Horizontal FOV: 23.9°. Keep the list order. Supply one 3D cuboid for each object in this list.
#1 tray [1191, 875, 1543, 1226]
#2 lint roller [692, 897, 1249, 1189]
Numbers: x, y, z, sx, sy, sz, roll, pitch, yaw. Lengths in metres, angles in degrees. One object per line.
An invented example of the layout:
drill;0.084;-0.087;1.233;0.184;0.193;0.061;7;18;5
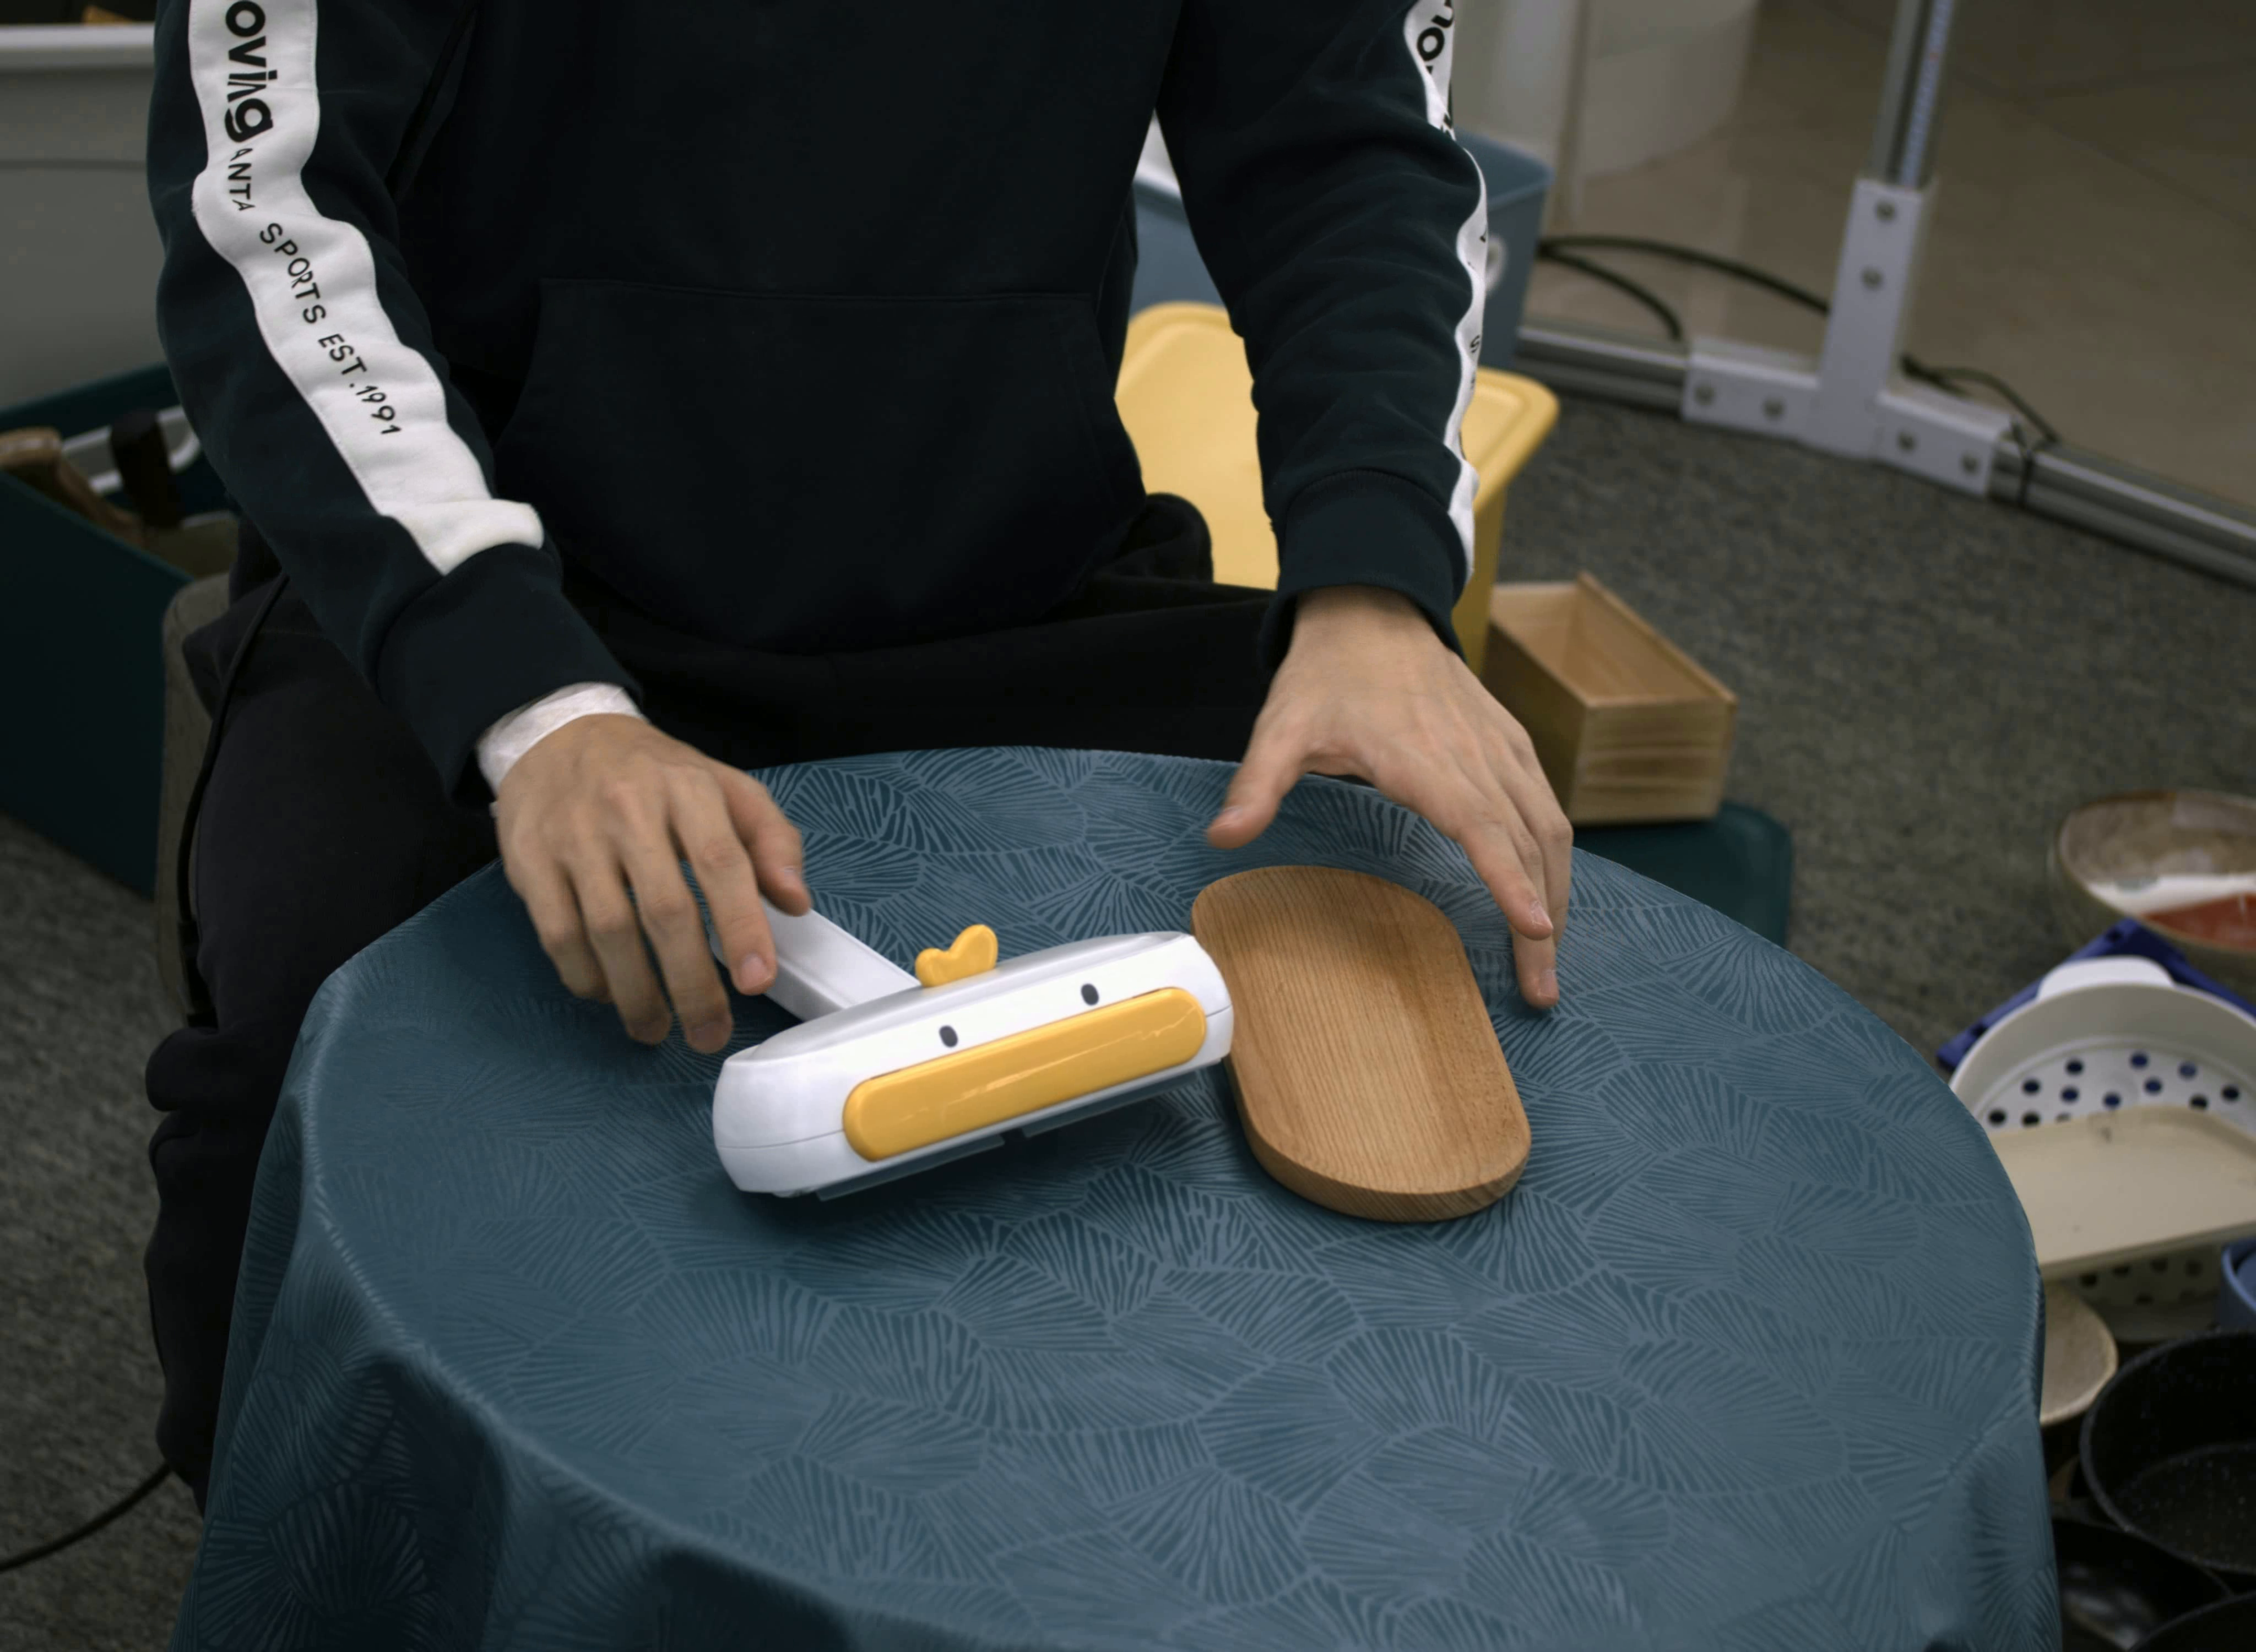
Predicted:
tray;0.082;0.077;1.890;0.101;0.020;0.233;1;28;-10
lint roller;-0.083;0.064;1.844;0.192;0.074;0.193;-22;19;-34
